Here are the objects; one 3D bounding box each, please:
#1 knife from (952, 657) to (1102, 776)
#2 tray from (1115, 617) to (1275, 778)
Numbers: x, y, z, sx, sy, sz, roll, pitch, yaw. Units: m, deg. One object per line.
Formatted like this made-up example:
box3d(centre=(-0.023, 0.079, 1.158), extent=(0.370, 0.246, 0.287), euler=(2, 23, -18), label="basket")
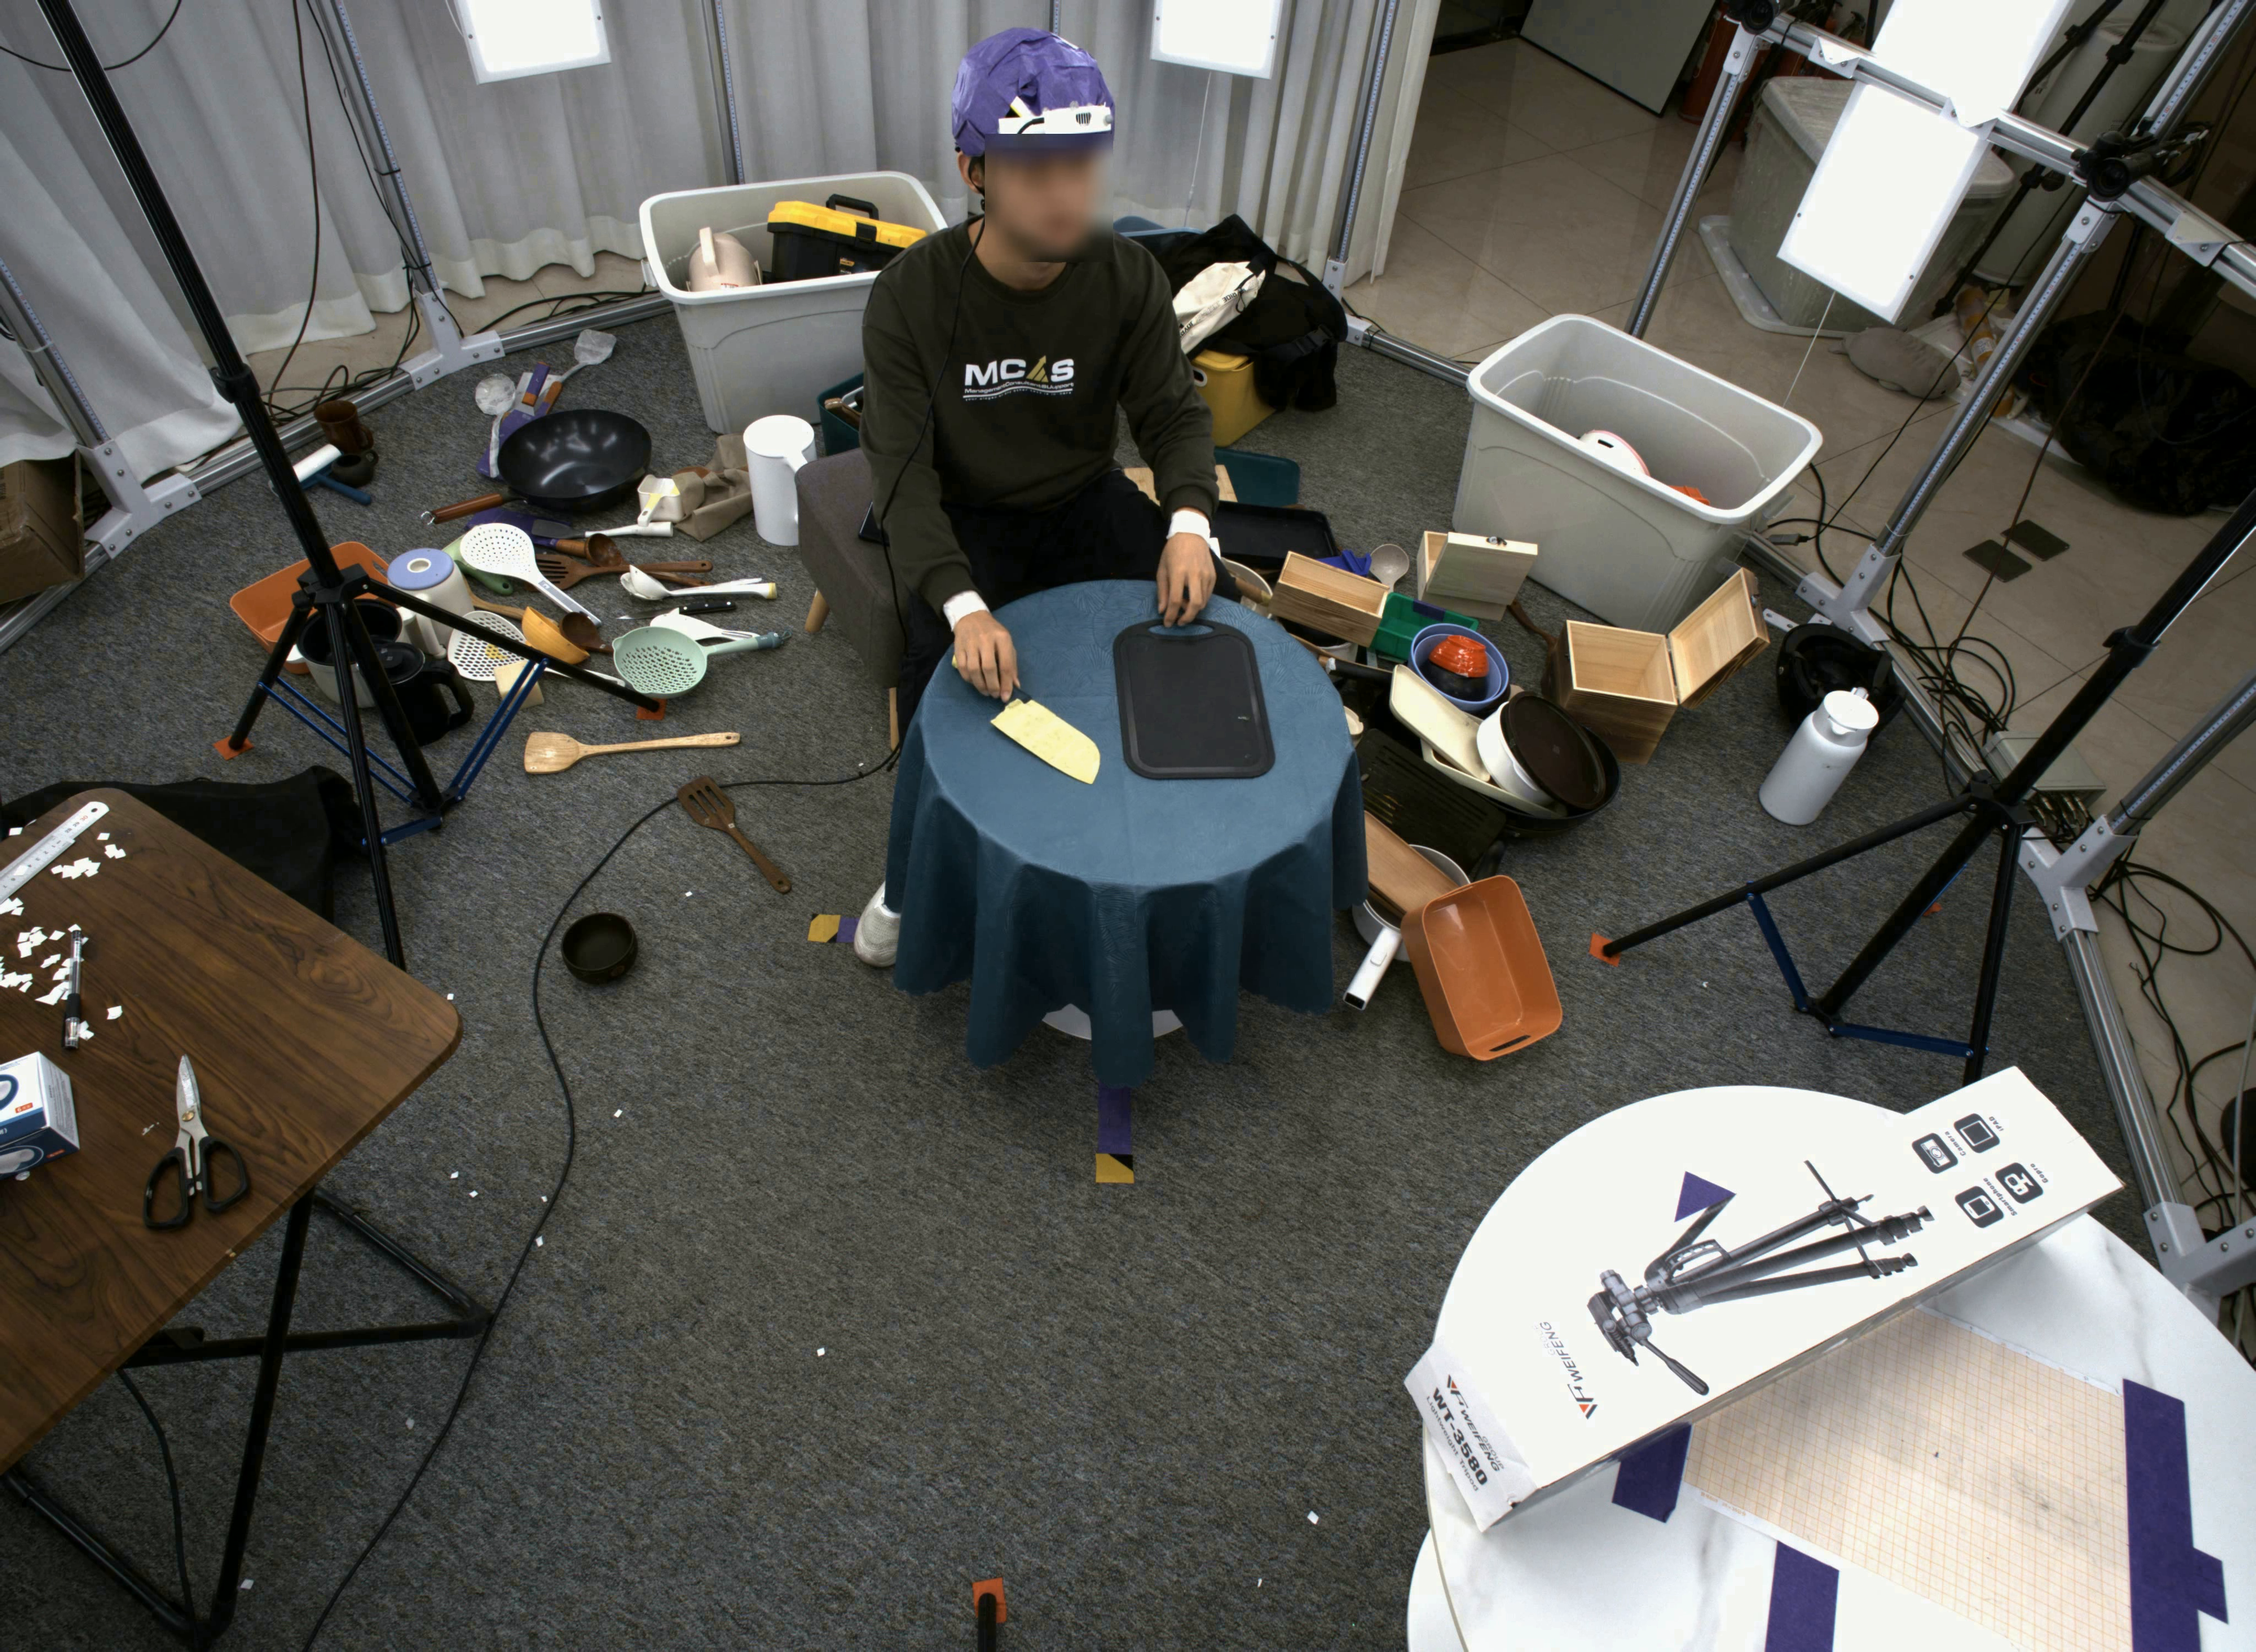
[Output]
box3d(centre=(-0.147, -0.151, 1.779), extent=(0.293, 0.026, 0.082), euler=(37, 55, 24), label="knife")
box3d(centre=(0.090, -0.192, 1.834), extent=(0.211, 0.009, 0.333), euler=(-1, 49, -4), label="tray")
